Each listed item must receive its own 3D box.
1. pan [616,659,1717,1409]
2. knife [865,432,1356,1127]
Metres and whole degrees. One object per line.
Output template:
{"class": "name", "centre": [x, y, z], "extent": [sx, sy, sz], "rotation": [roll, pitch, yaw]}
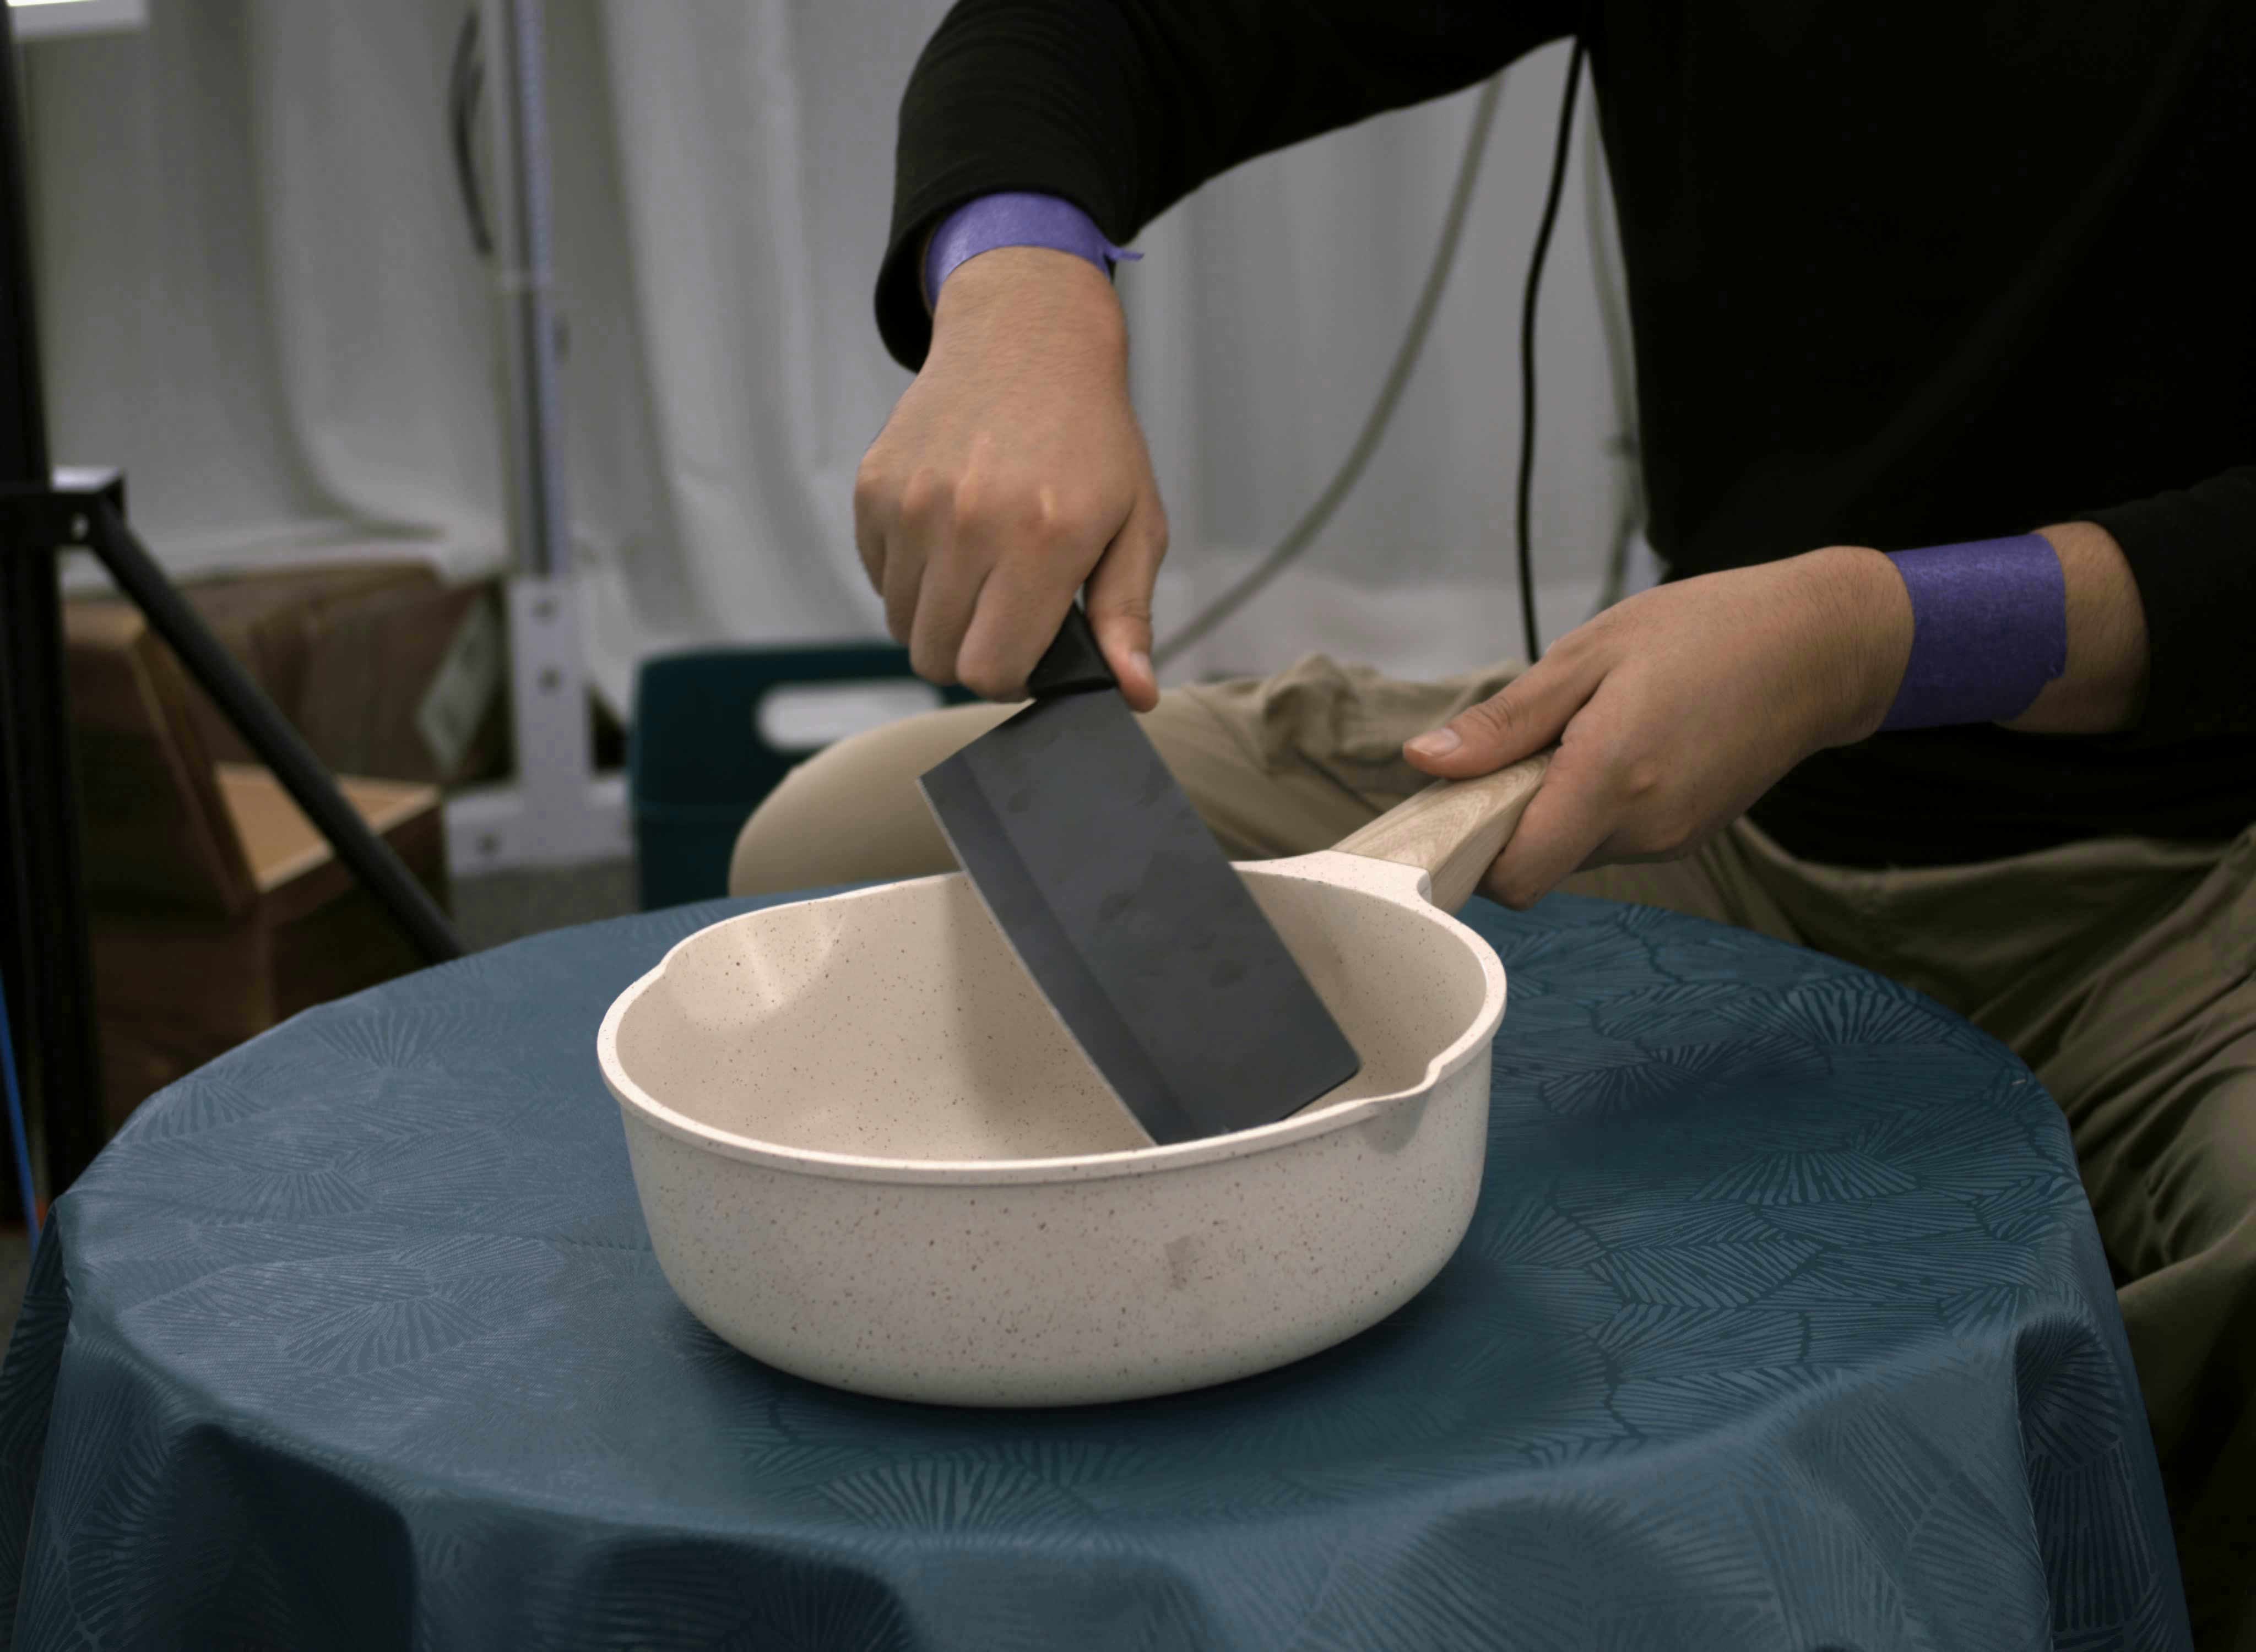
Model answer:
{"class": "pan", "centre": [0.045, 0.055, 1.528], "extent": [0.269, 0.102, 0.426], "rotation": [10, 22, 41]}
{"class": "knife", "centre": [-0.019, -0.014, 1.561], "extent": [0.081, 0.020, 0.308], "rotation": [-29, 48, 3]}
